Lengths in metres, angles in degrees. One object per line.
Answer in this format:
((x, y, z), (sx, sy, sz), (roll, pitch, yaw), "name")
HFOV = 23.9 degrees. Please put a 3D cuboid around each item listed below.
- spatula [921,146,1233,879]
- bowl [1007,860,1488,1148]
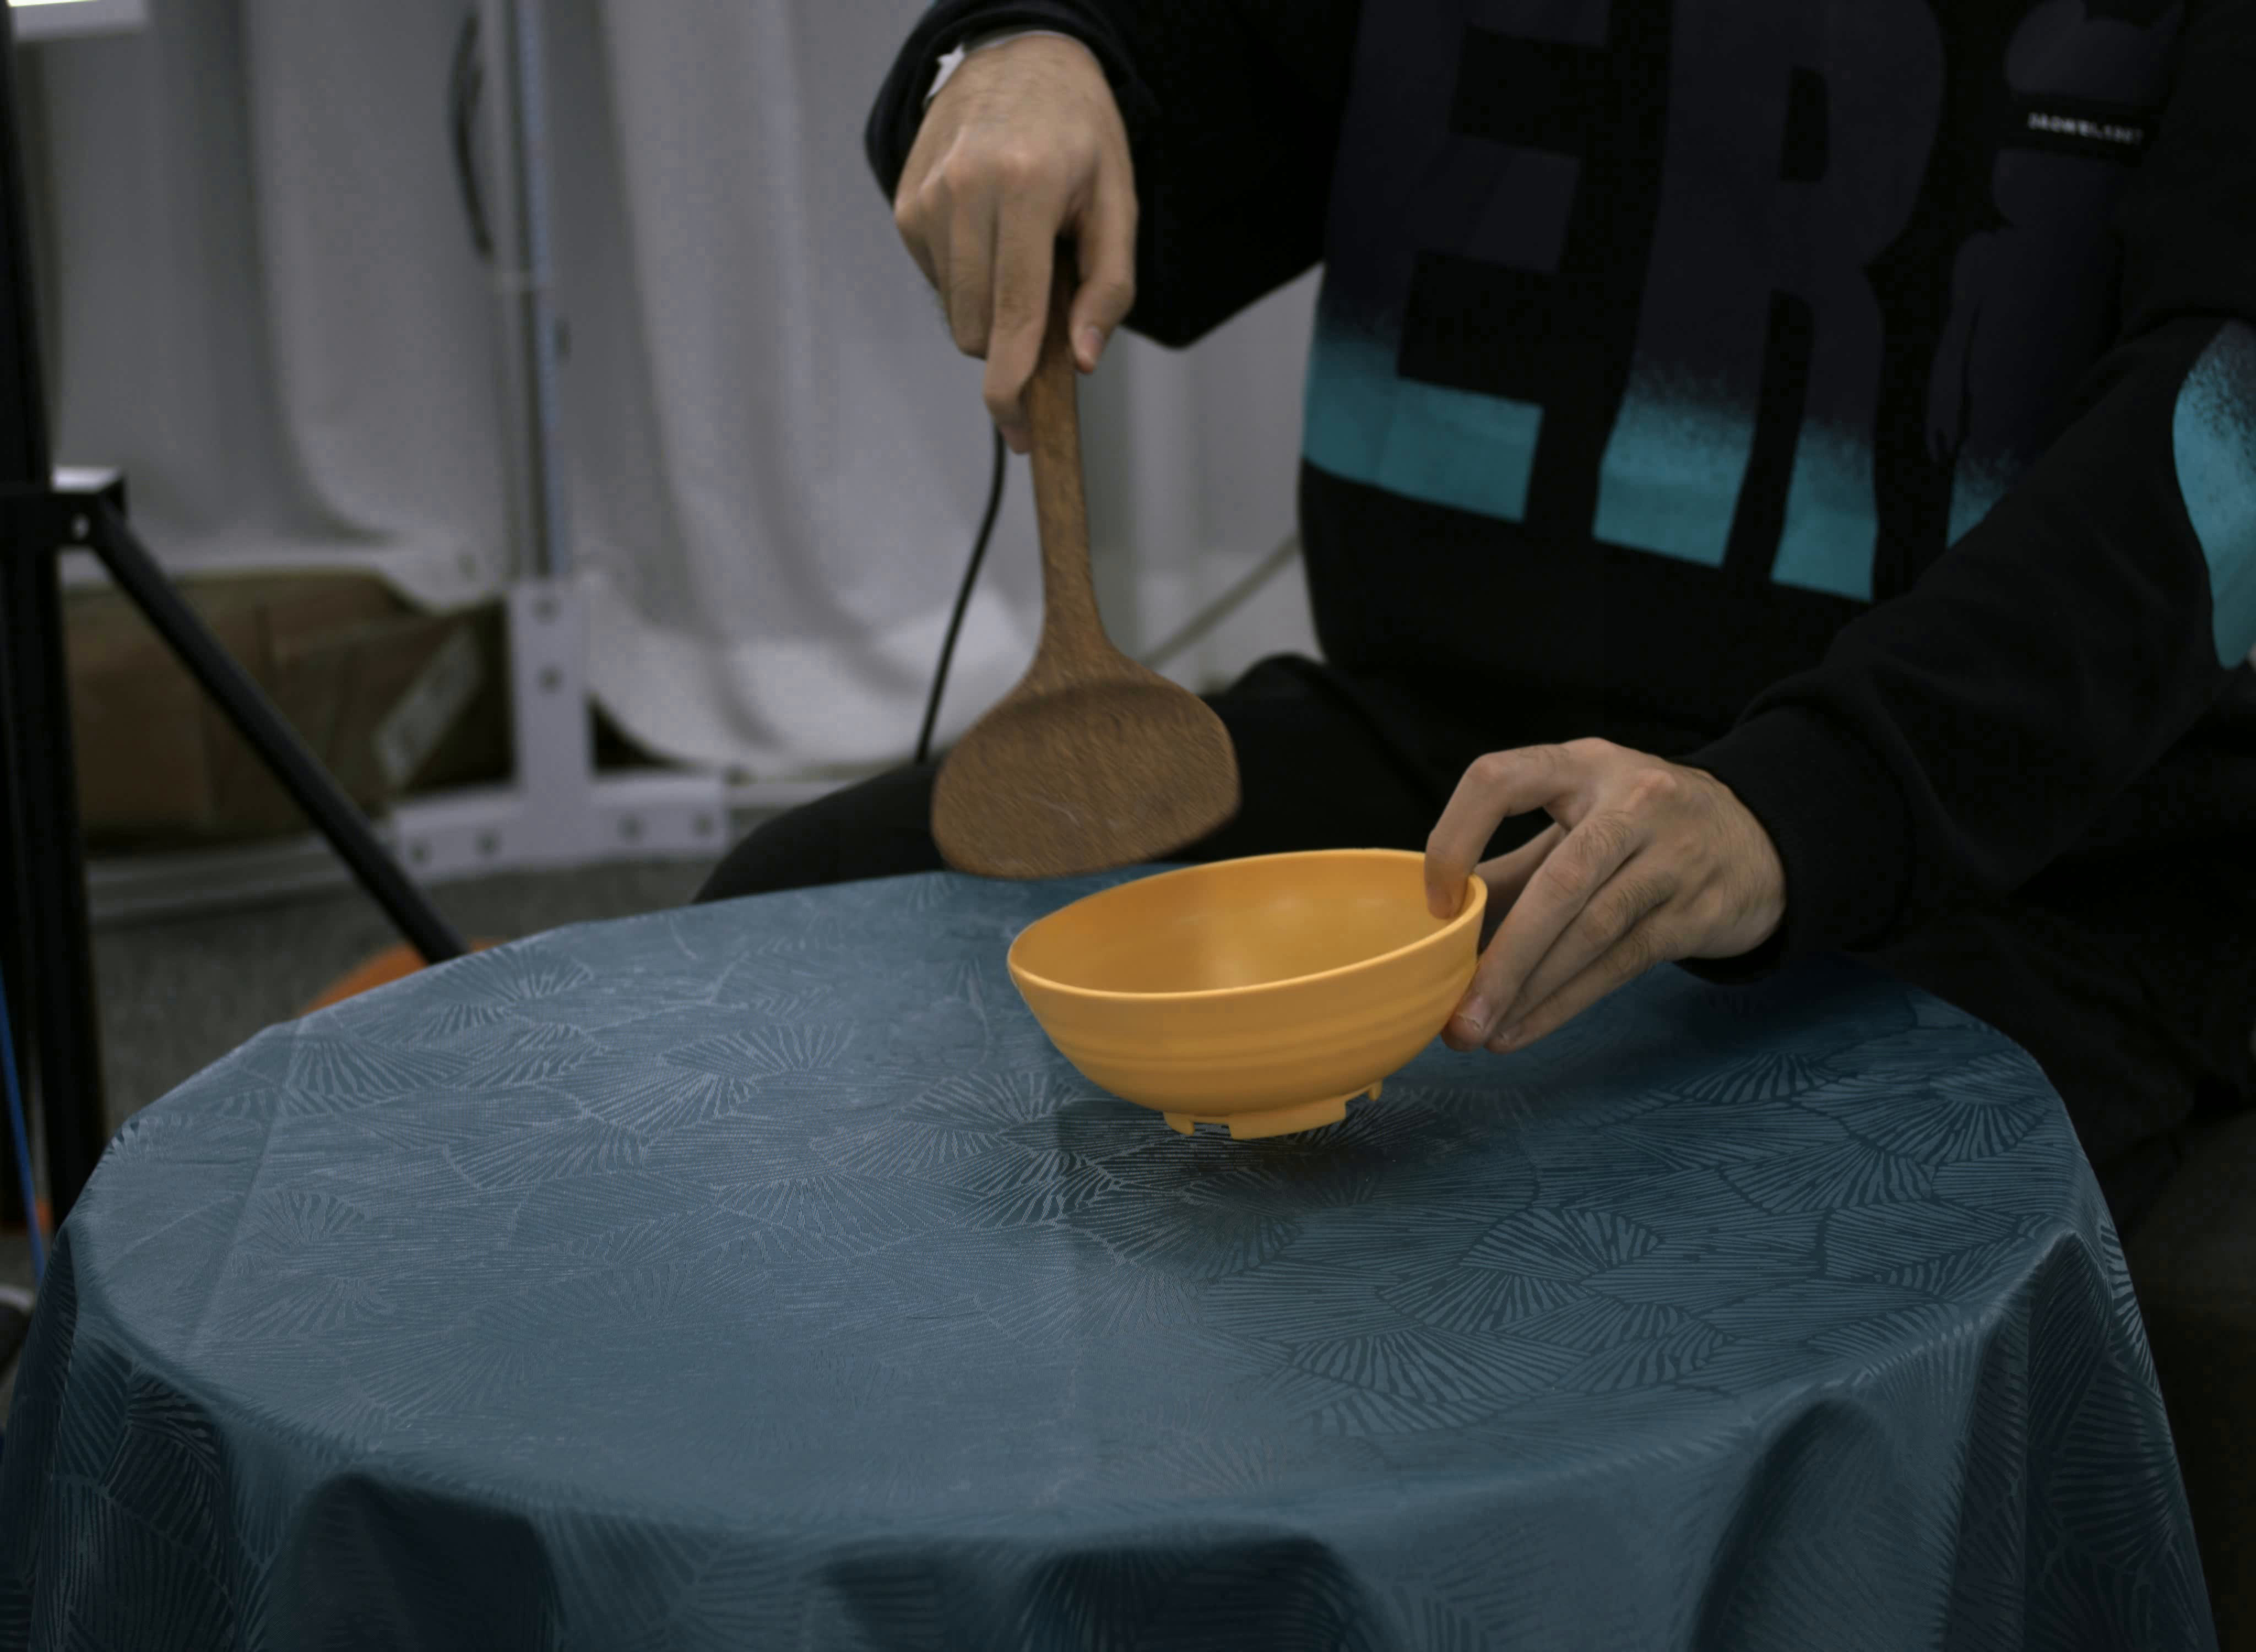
((-0.025, -0.112, 1.718), (0.096, 0.015, 0.390), (-12, 41, 5), "spatula")
((0.038, 0.059, 1.589), (0.144, 0.060, 0.146), (-6, 14, 0), "bowl")
